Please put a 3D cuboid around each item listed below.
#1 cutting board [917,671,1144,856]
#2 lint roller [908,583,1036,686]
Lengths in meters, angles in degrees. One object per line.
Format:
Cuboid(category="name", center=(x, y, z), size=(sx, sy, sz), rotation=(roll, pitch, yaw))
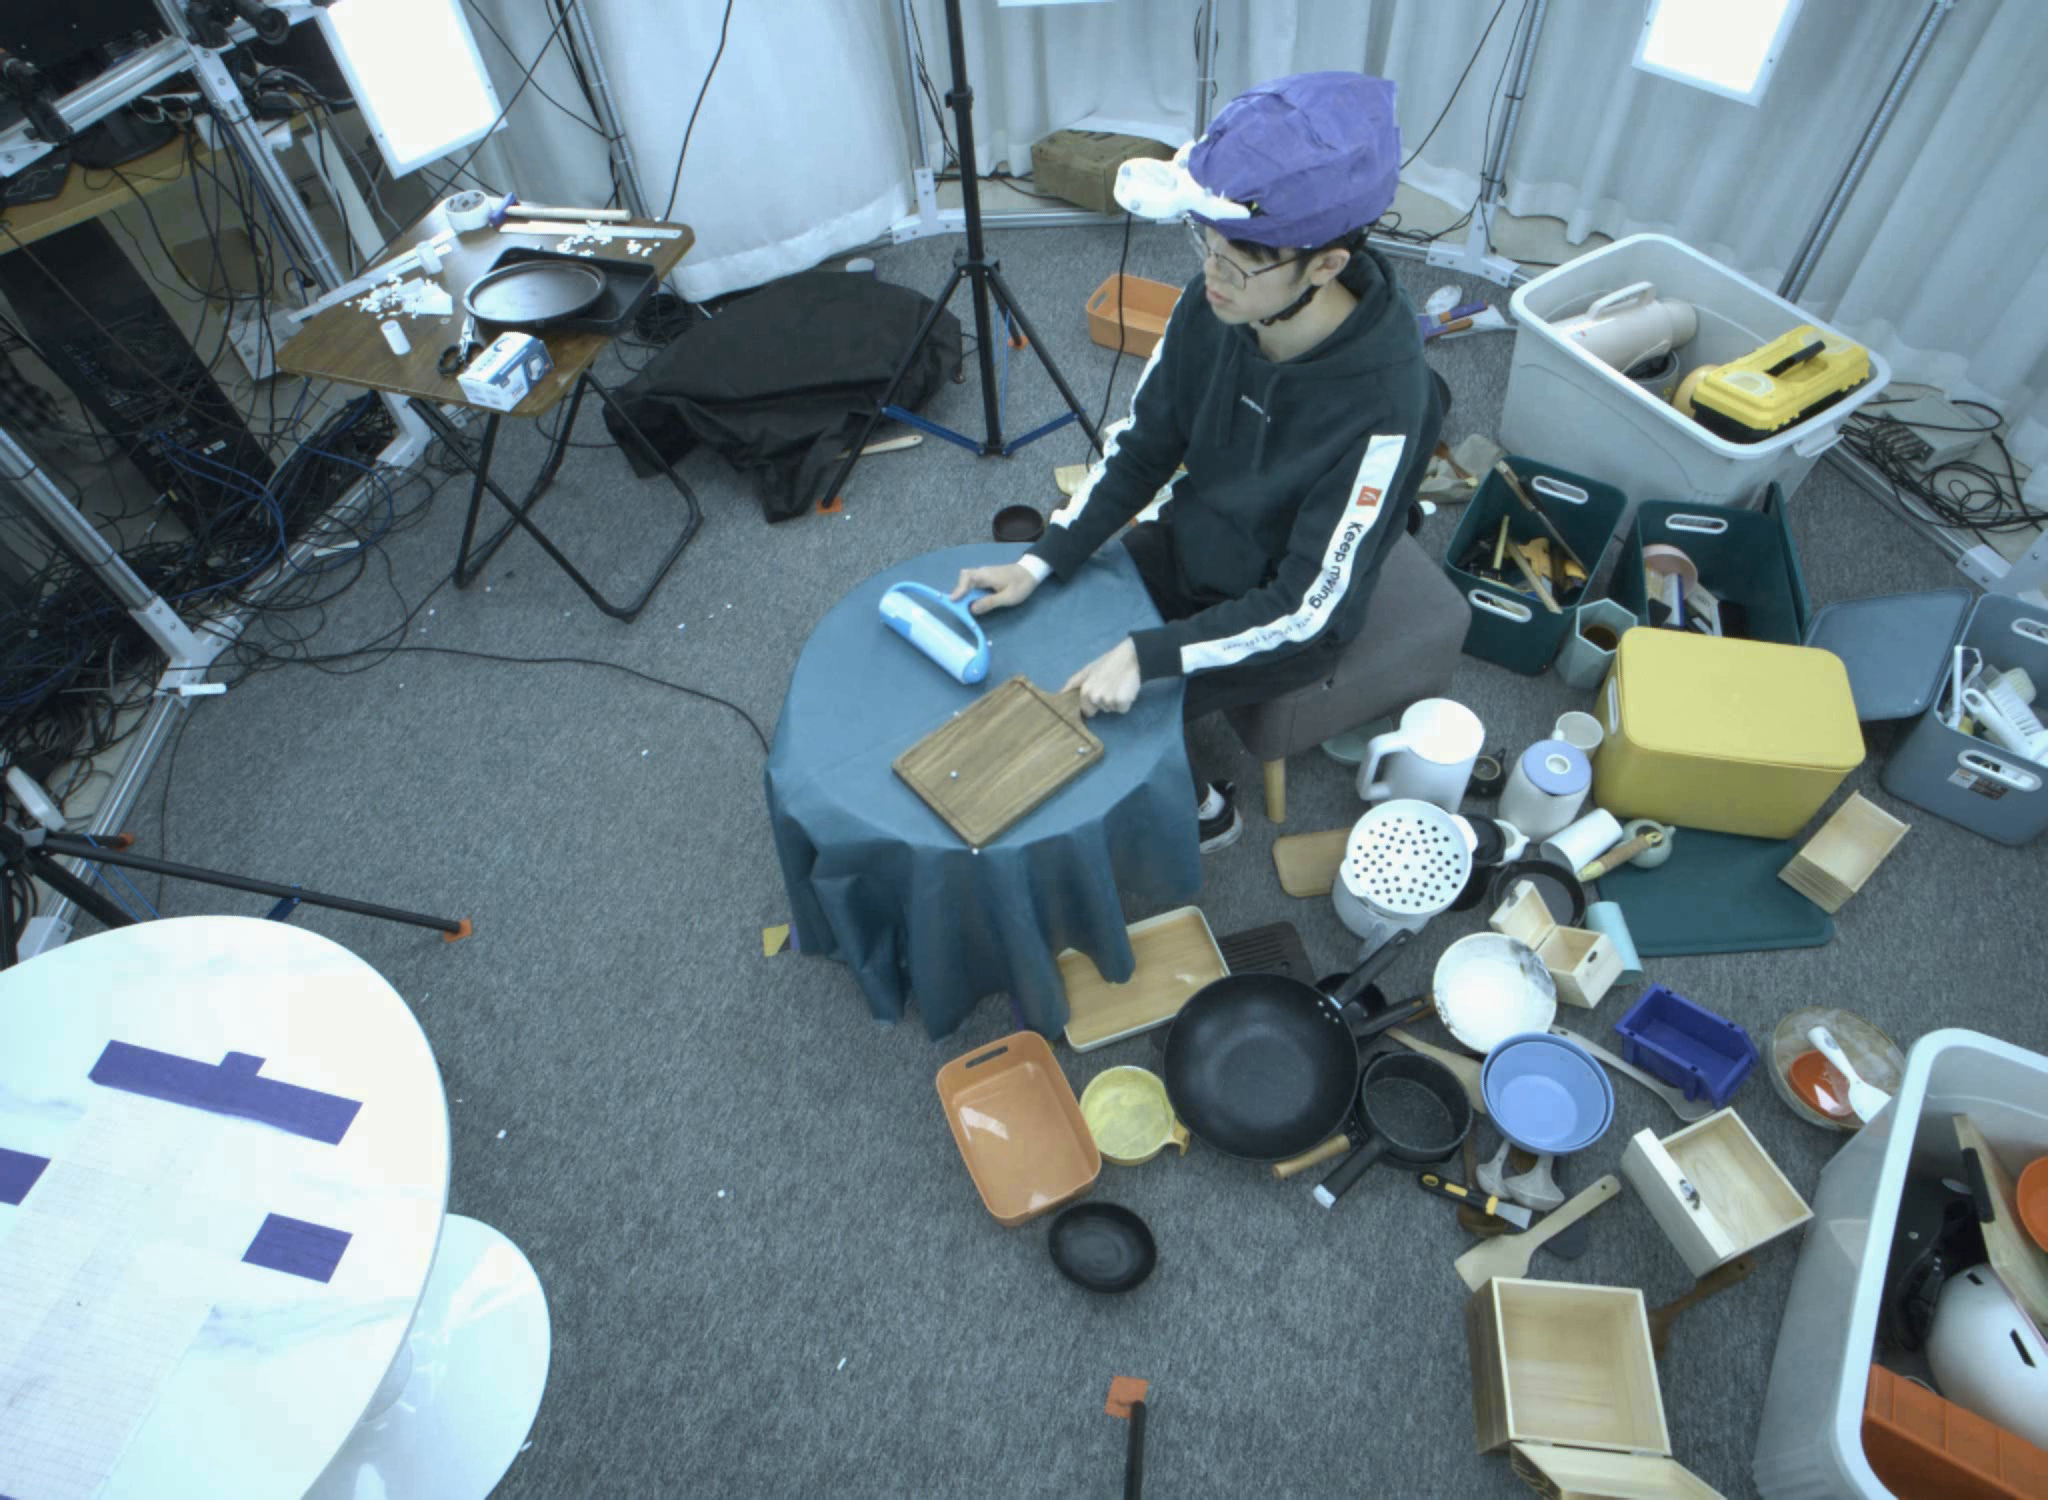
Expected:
Cuboid(category="cutting board", center=(0.040, -0.011, 1.775), size=(0.355, 0.023, 0.197), rotation=(-35, 62, -21))
Cuboid(category="lint roller", center=(-0.055, -0.208, 1.897), size=(0.224, 0.069, 0.181), rotation=(37, 65, 26))
